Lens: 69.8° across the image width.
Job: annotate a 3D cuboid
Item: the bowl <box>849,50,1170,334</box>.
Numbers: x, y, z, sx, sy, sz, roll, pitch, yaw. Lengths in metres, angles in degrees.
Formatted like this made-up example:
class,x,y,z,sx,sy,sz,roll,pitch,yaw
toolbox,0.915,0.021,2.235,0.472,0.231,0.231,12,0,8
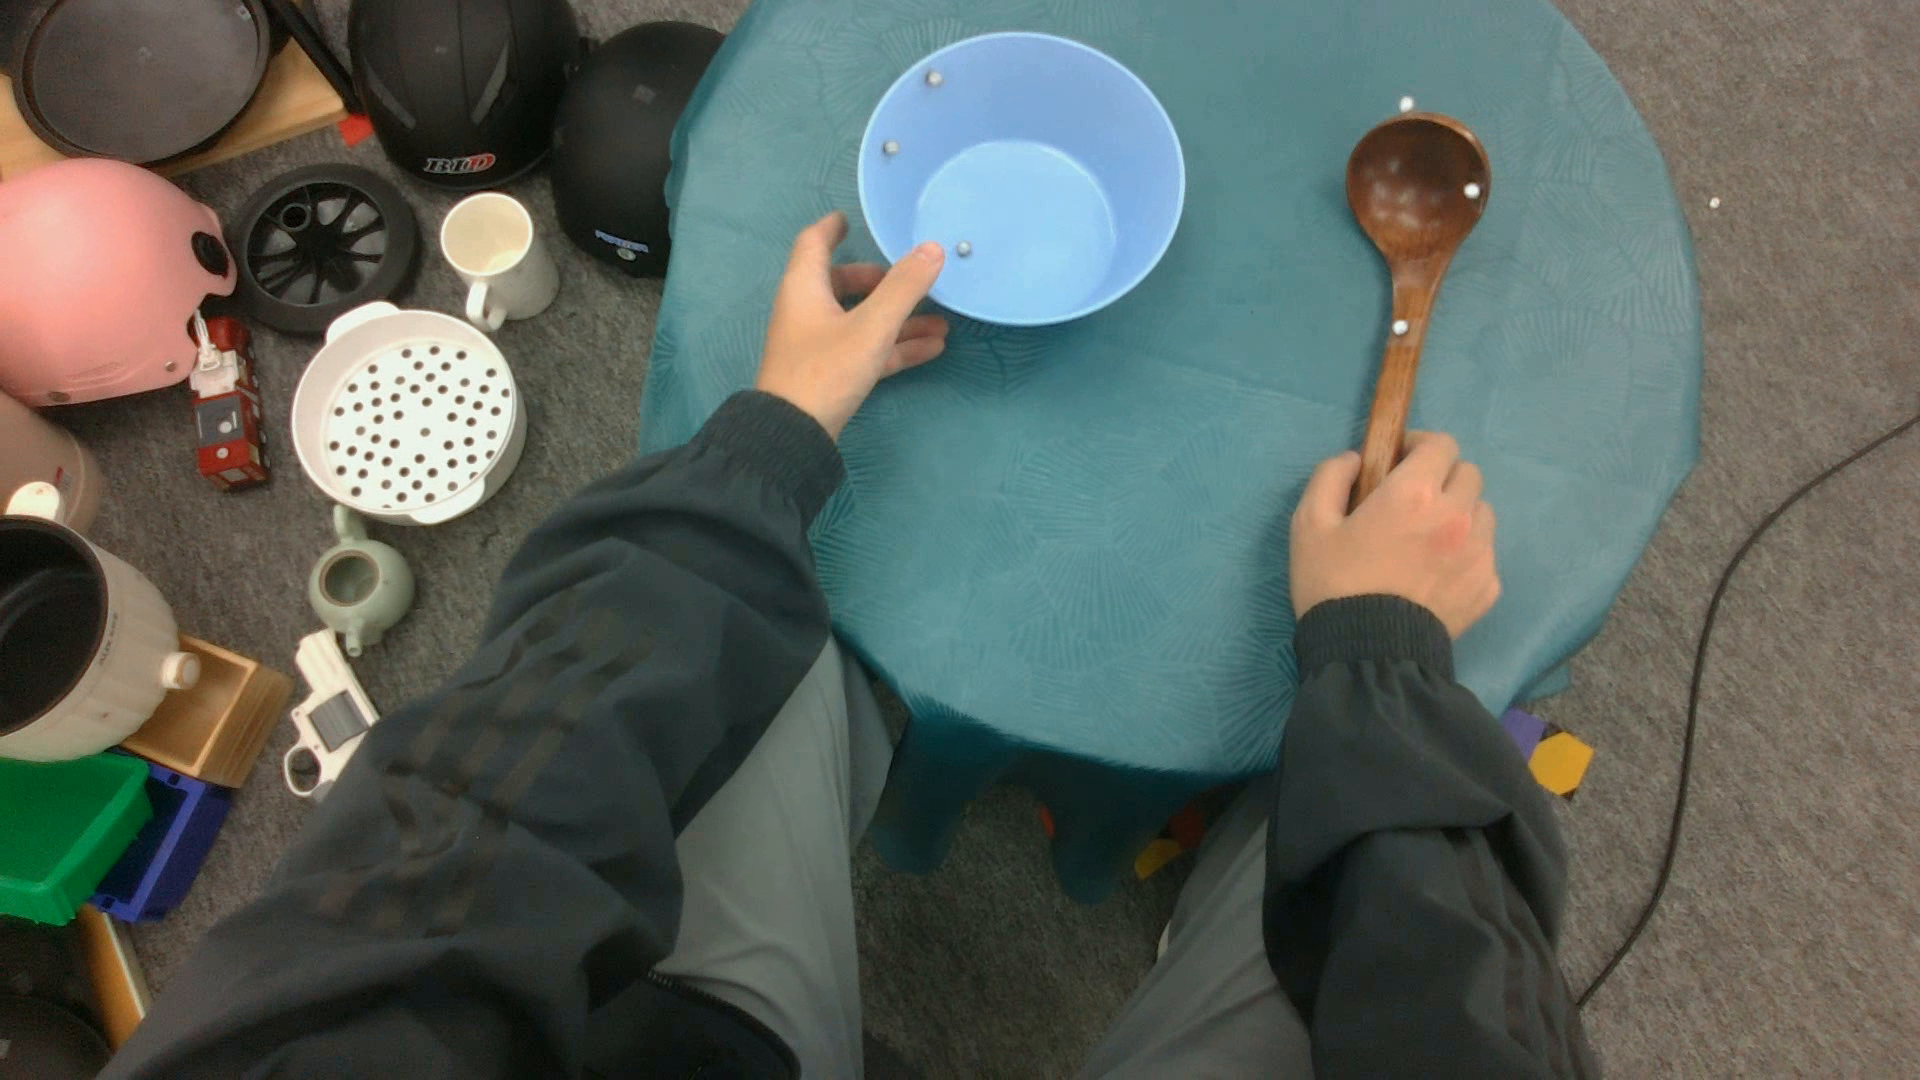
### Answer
class,x,y,z,sx,sy,sz,roll,pitch,yaw
bowl,0.027,-0.184,0.782,0.176,0.070,0.176,0,73,0

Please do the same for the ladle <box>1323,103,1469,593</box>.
class,x,y,z,sx,sy,sz,roll,pitch,yaw
ladle,0.225,-0.111,0.763,0.076,0.081,0.275,28,71,-39
